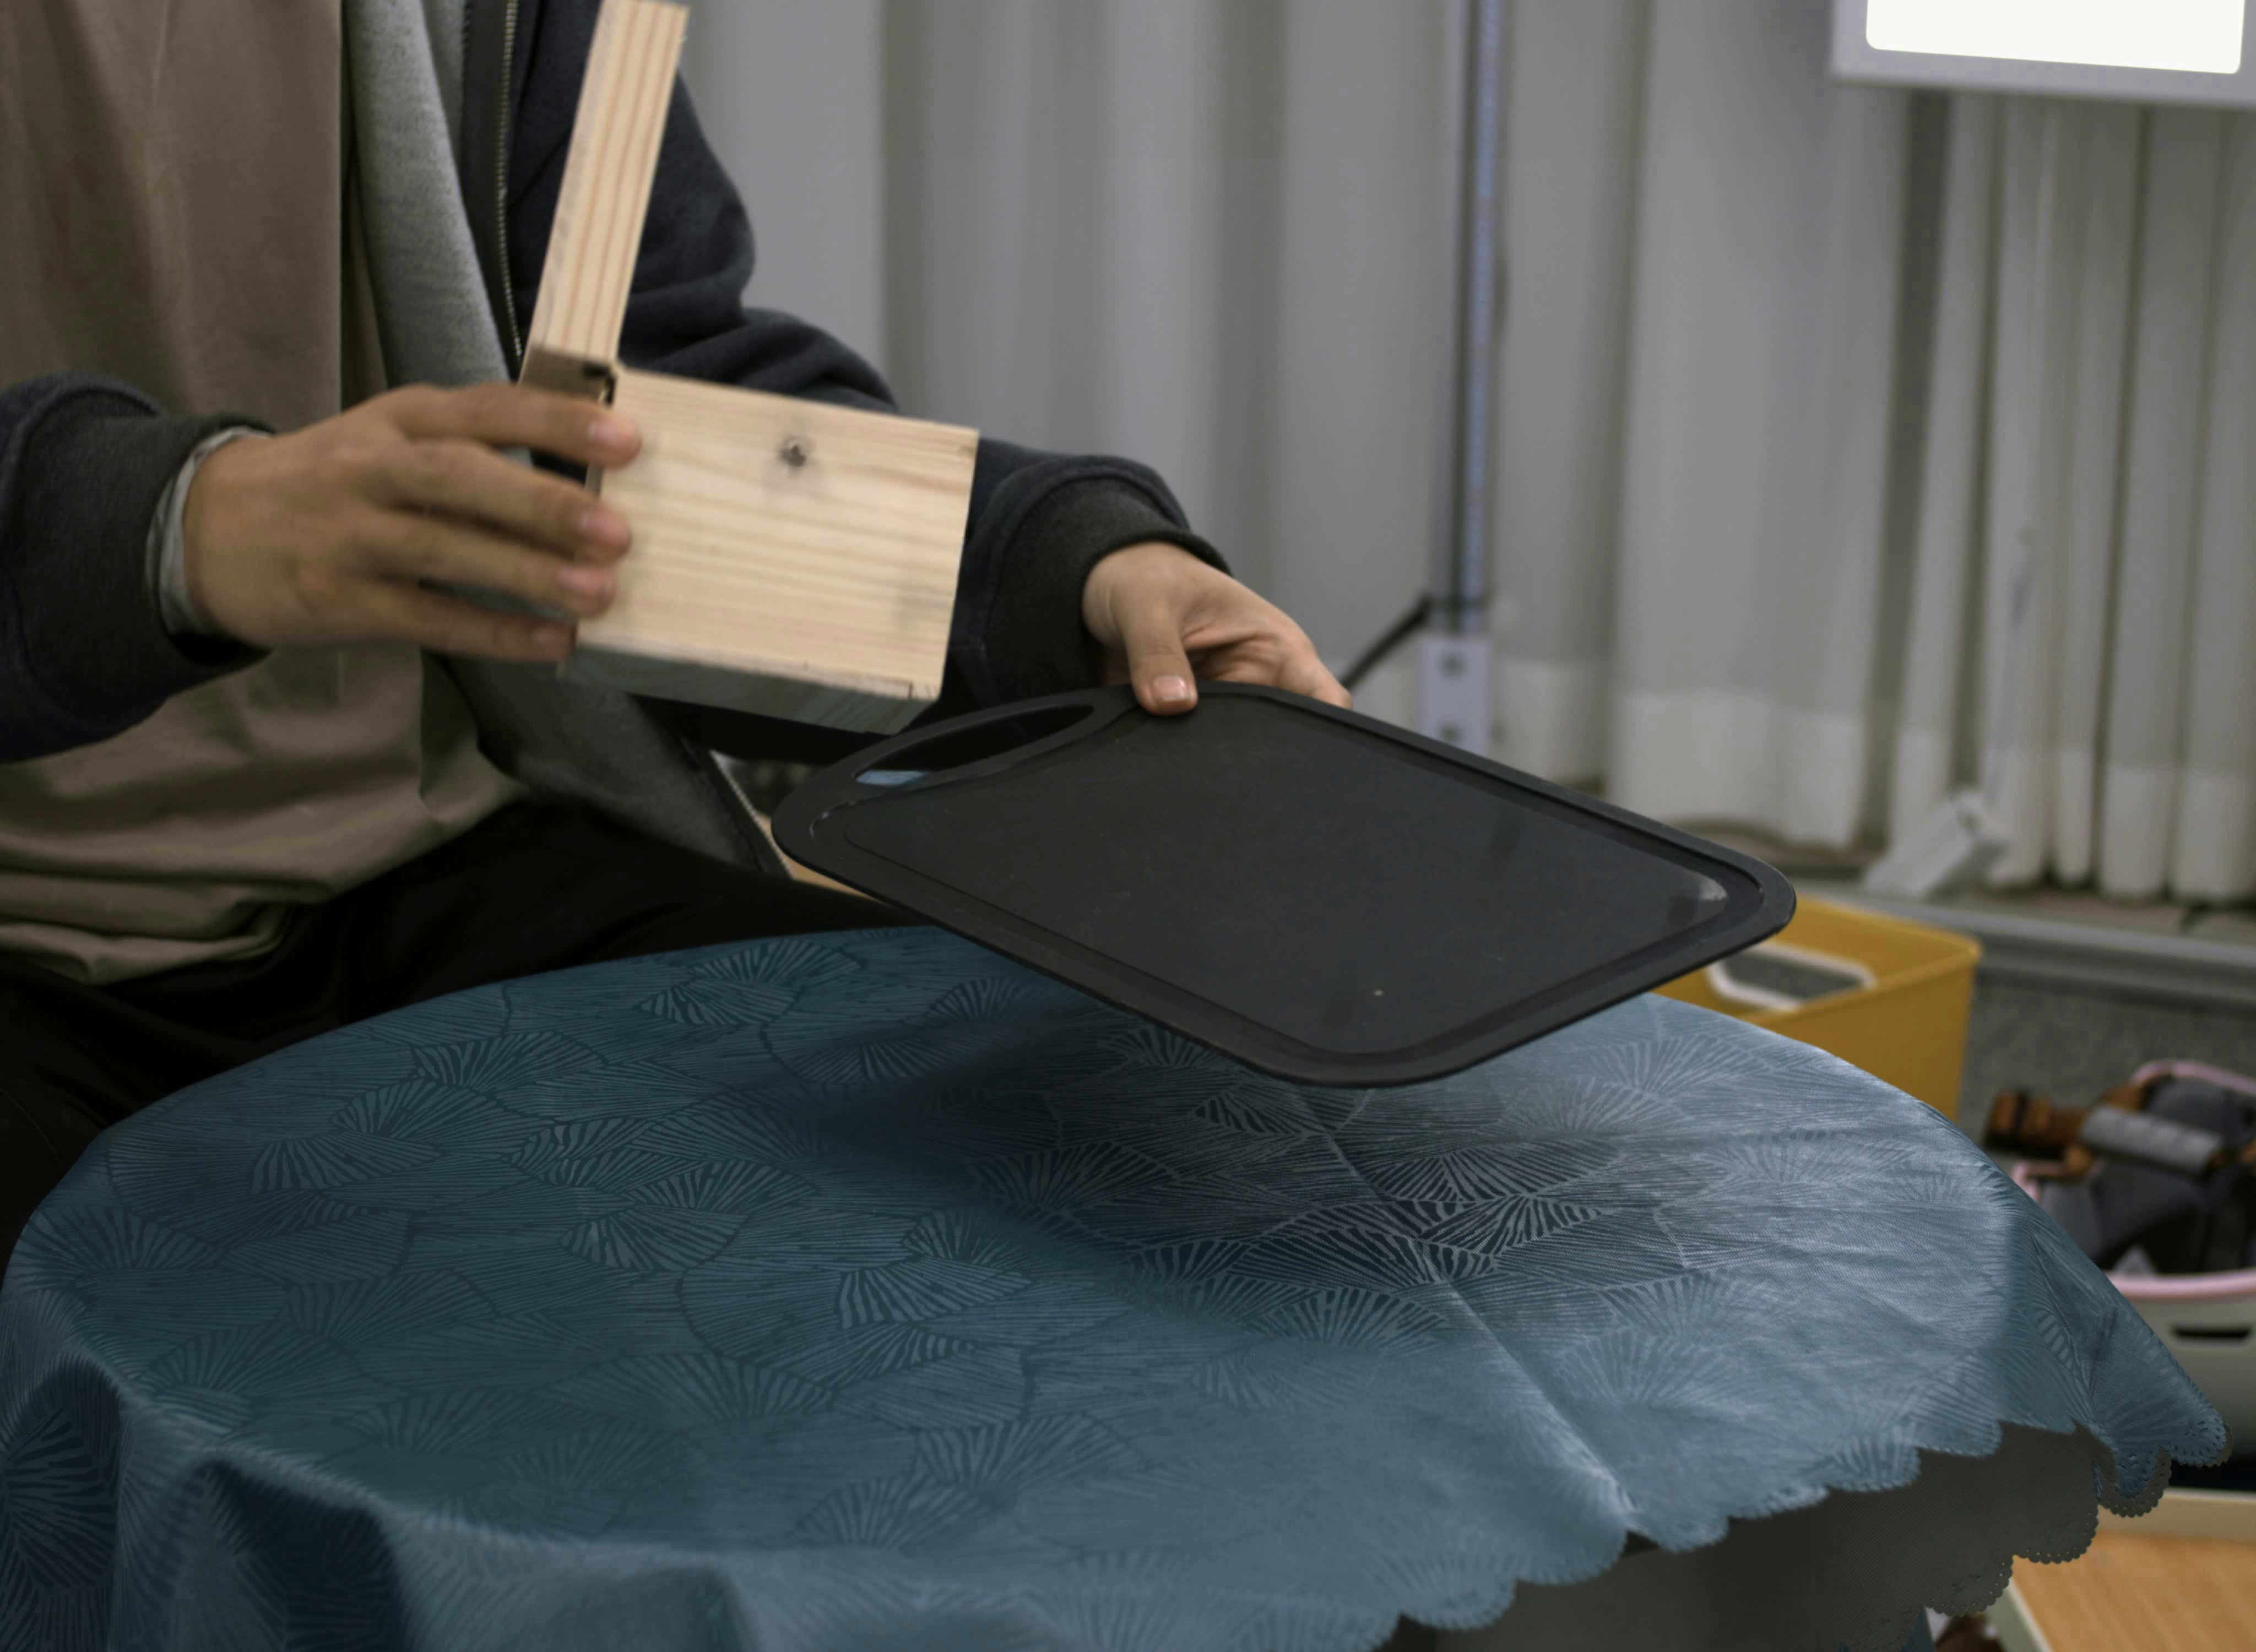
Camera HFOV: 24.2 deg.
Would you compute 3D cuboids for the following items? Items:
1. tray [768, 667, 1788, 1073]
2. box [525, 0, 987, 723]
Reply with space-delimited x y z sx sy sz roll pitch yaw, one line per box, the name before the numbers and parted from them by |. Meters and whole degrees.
tray | 0.037 0.006 1.663 0.212 0.010 0.321 -20 29 -36
box | -0.102 -0.134 1.481 0.134 0.184 0.102 9 -6 -9
